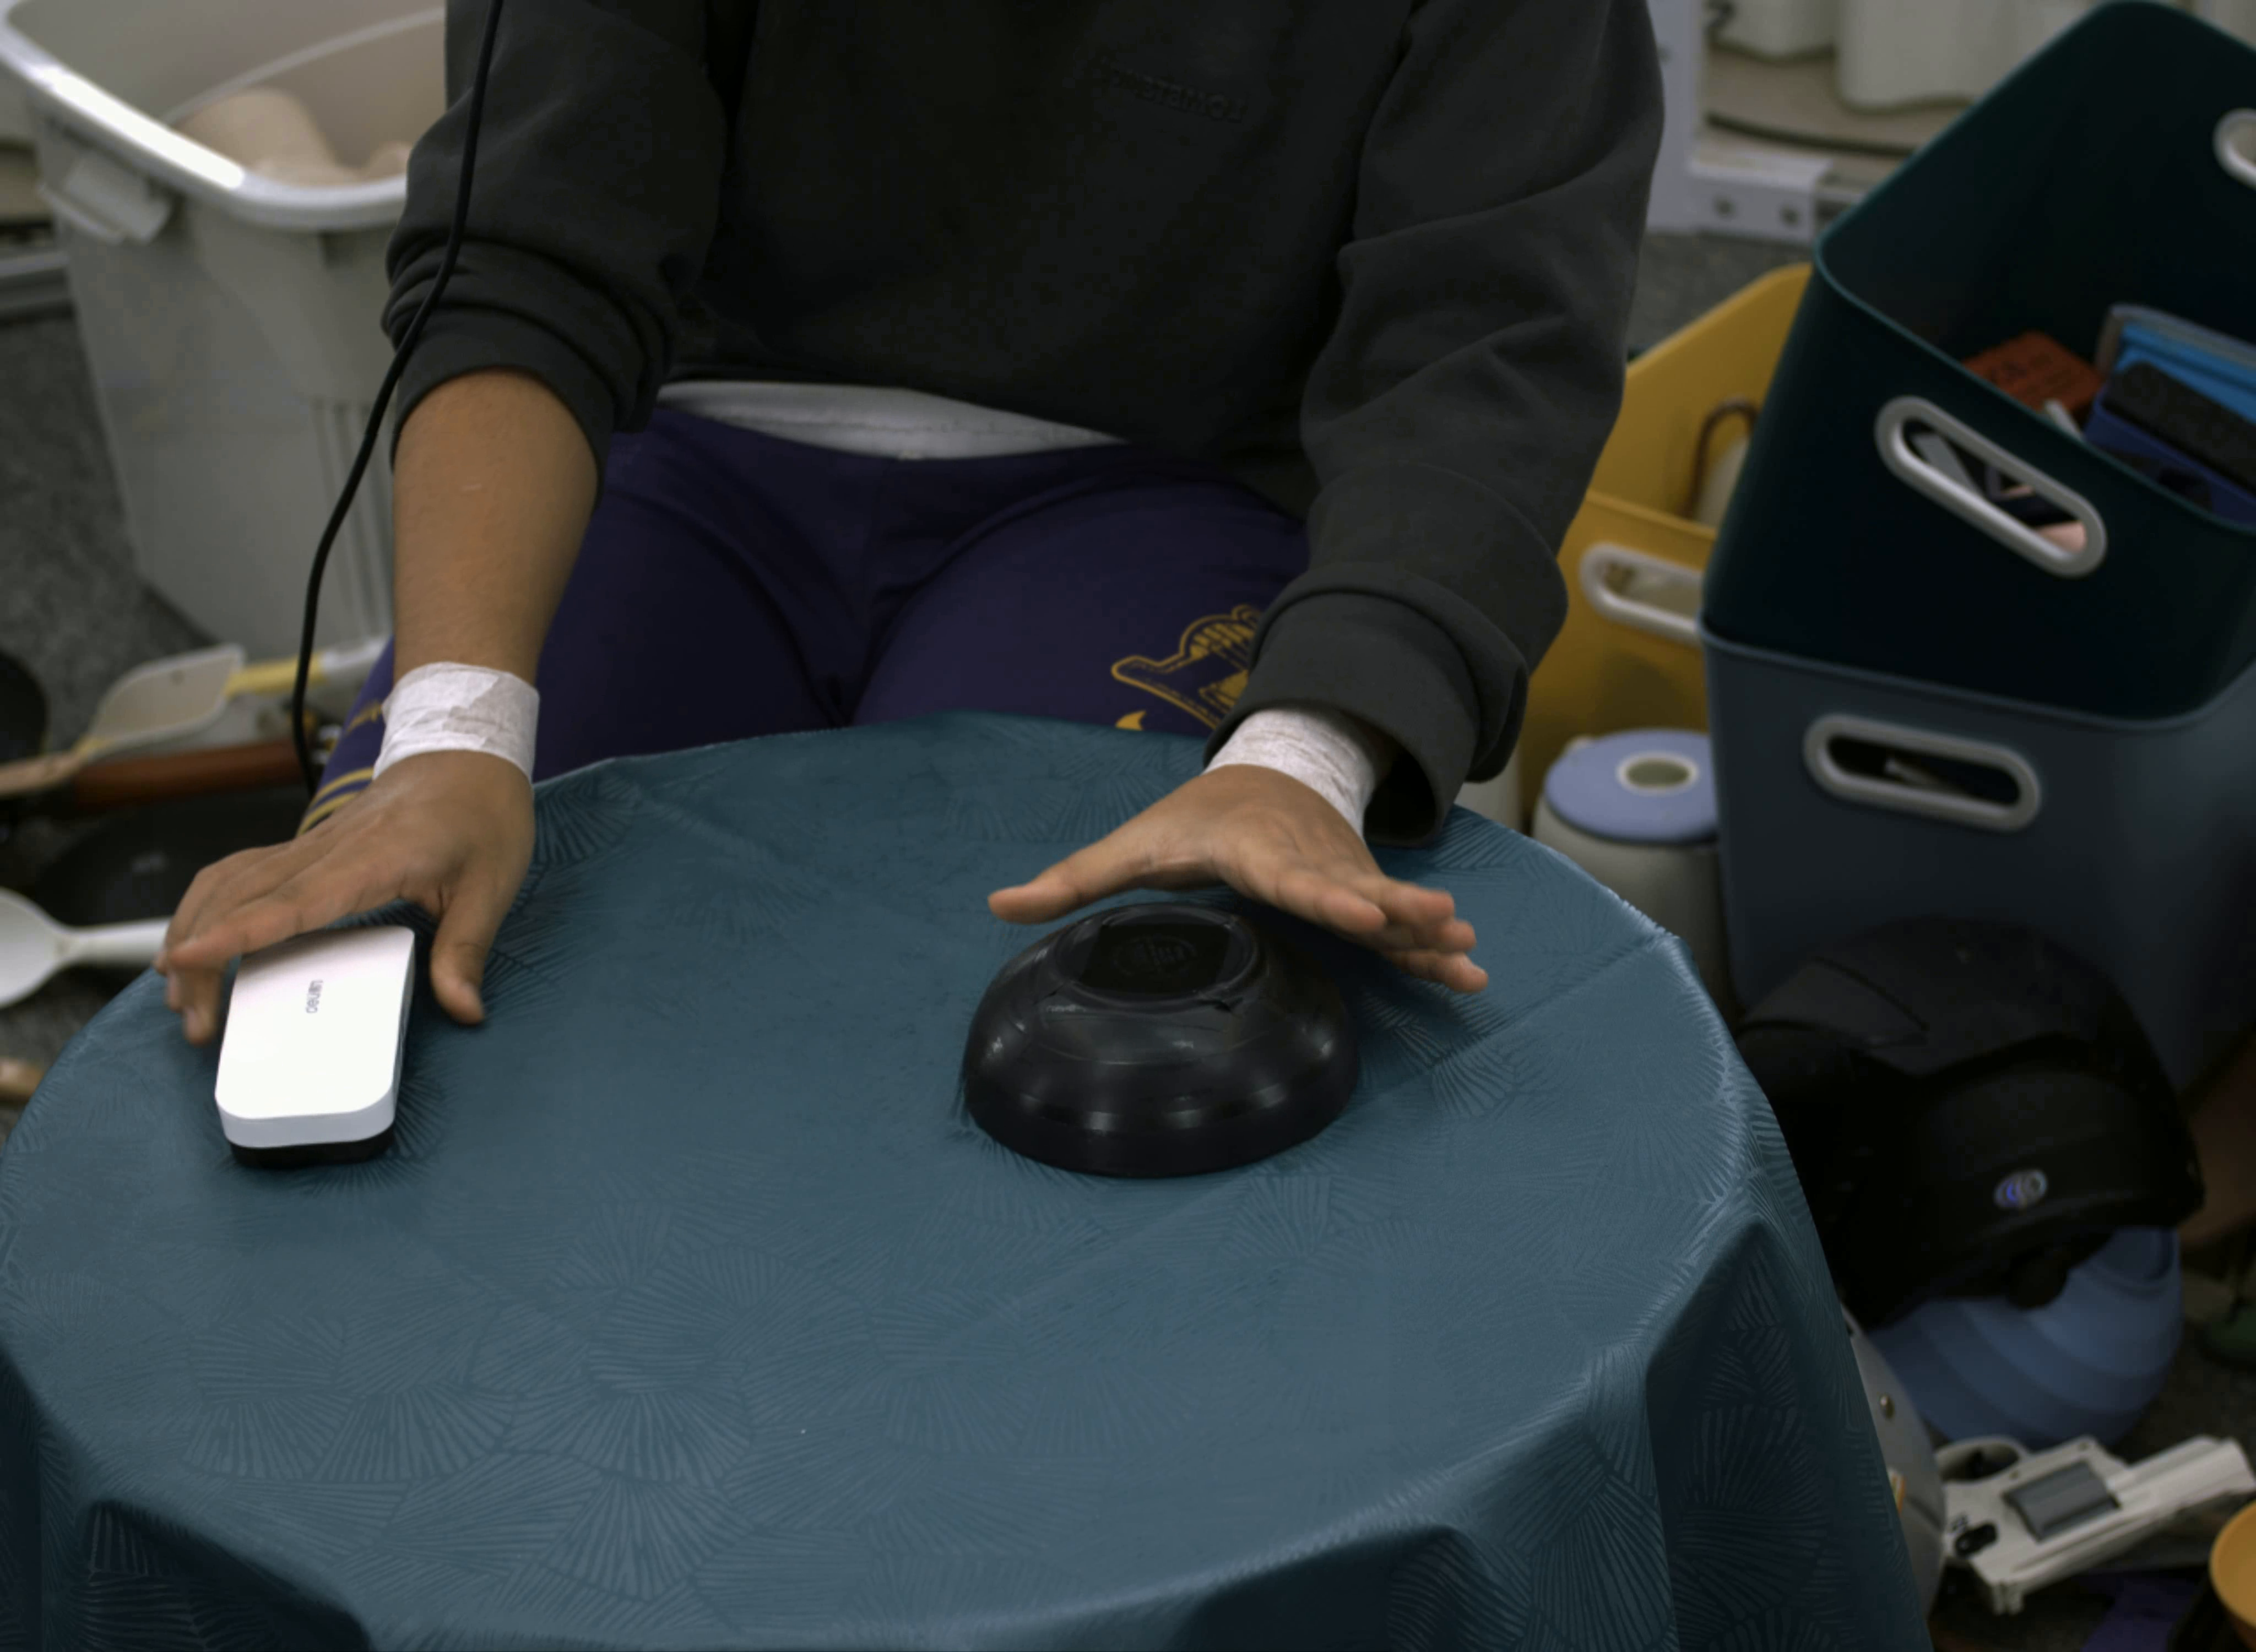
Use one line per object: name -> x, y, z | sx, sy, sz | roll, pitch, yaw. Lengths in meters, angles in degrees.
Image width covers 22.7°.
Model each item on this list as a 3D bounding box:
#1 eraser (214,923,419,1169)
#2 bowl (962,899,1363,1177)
eraser -> -0.278, 0.073, 1.949 | 0.063, 0.034, 0.133 | -2, 29, 0
bowl -> 0.010, 0.063, 1.919 | 0.139, 0.049, 0.142 | -3, 28, 2
